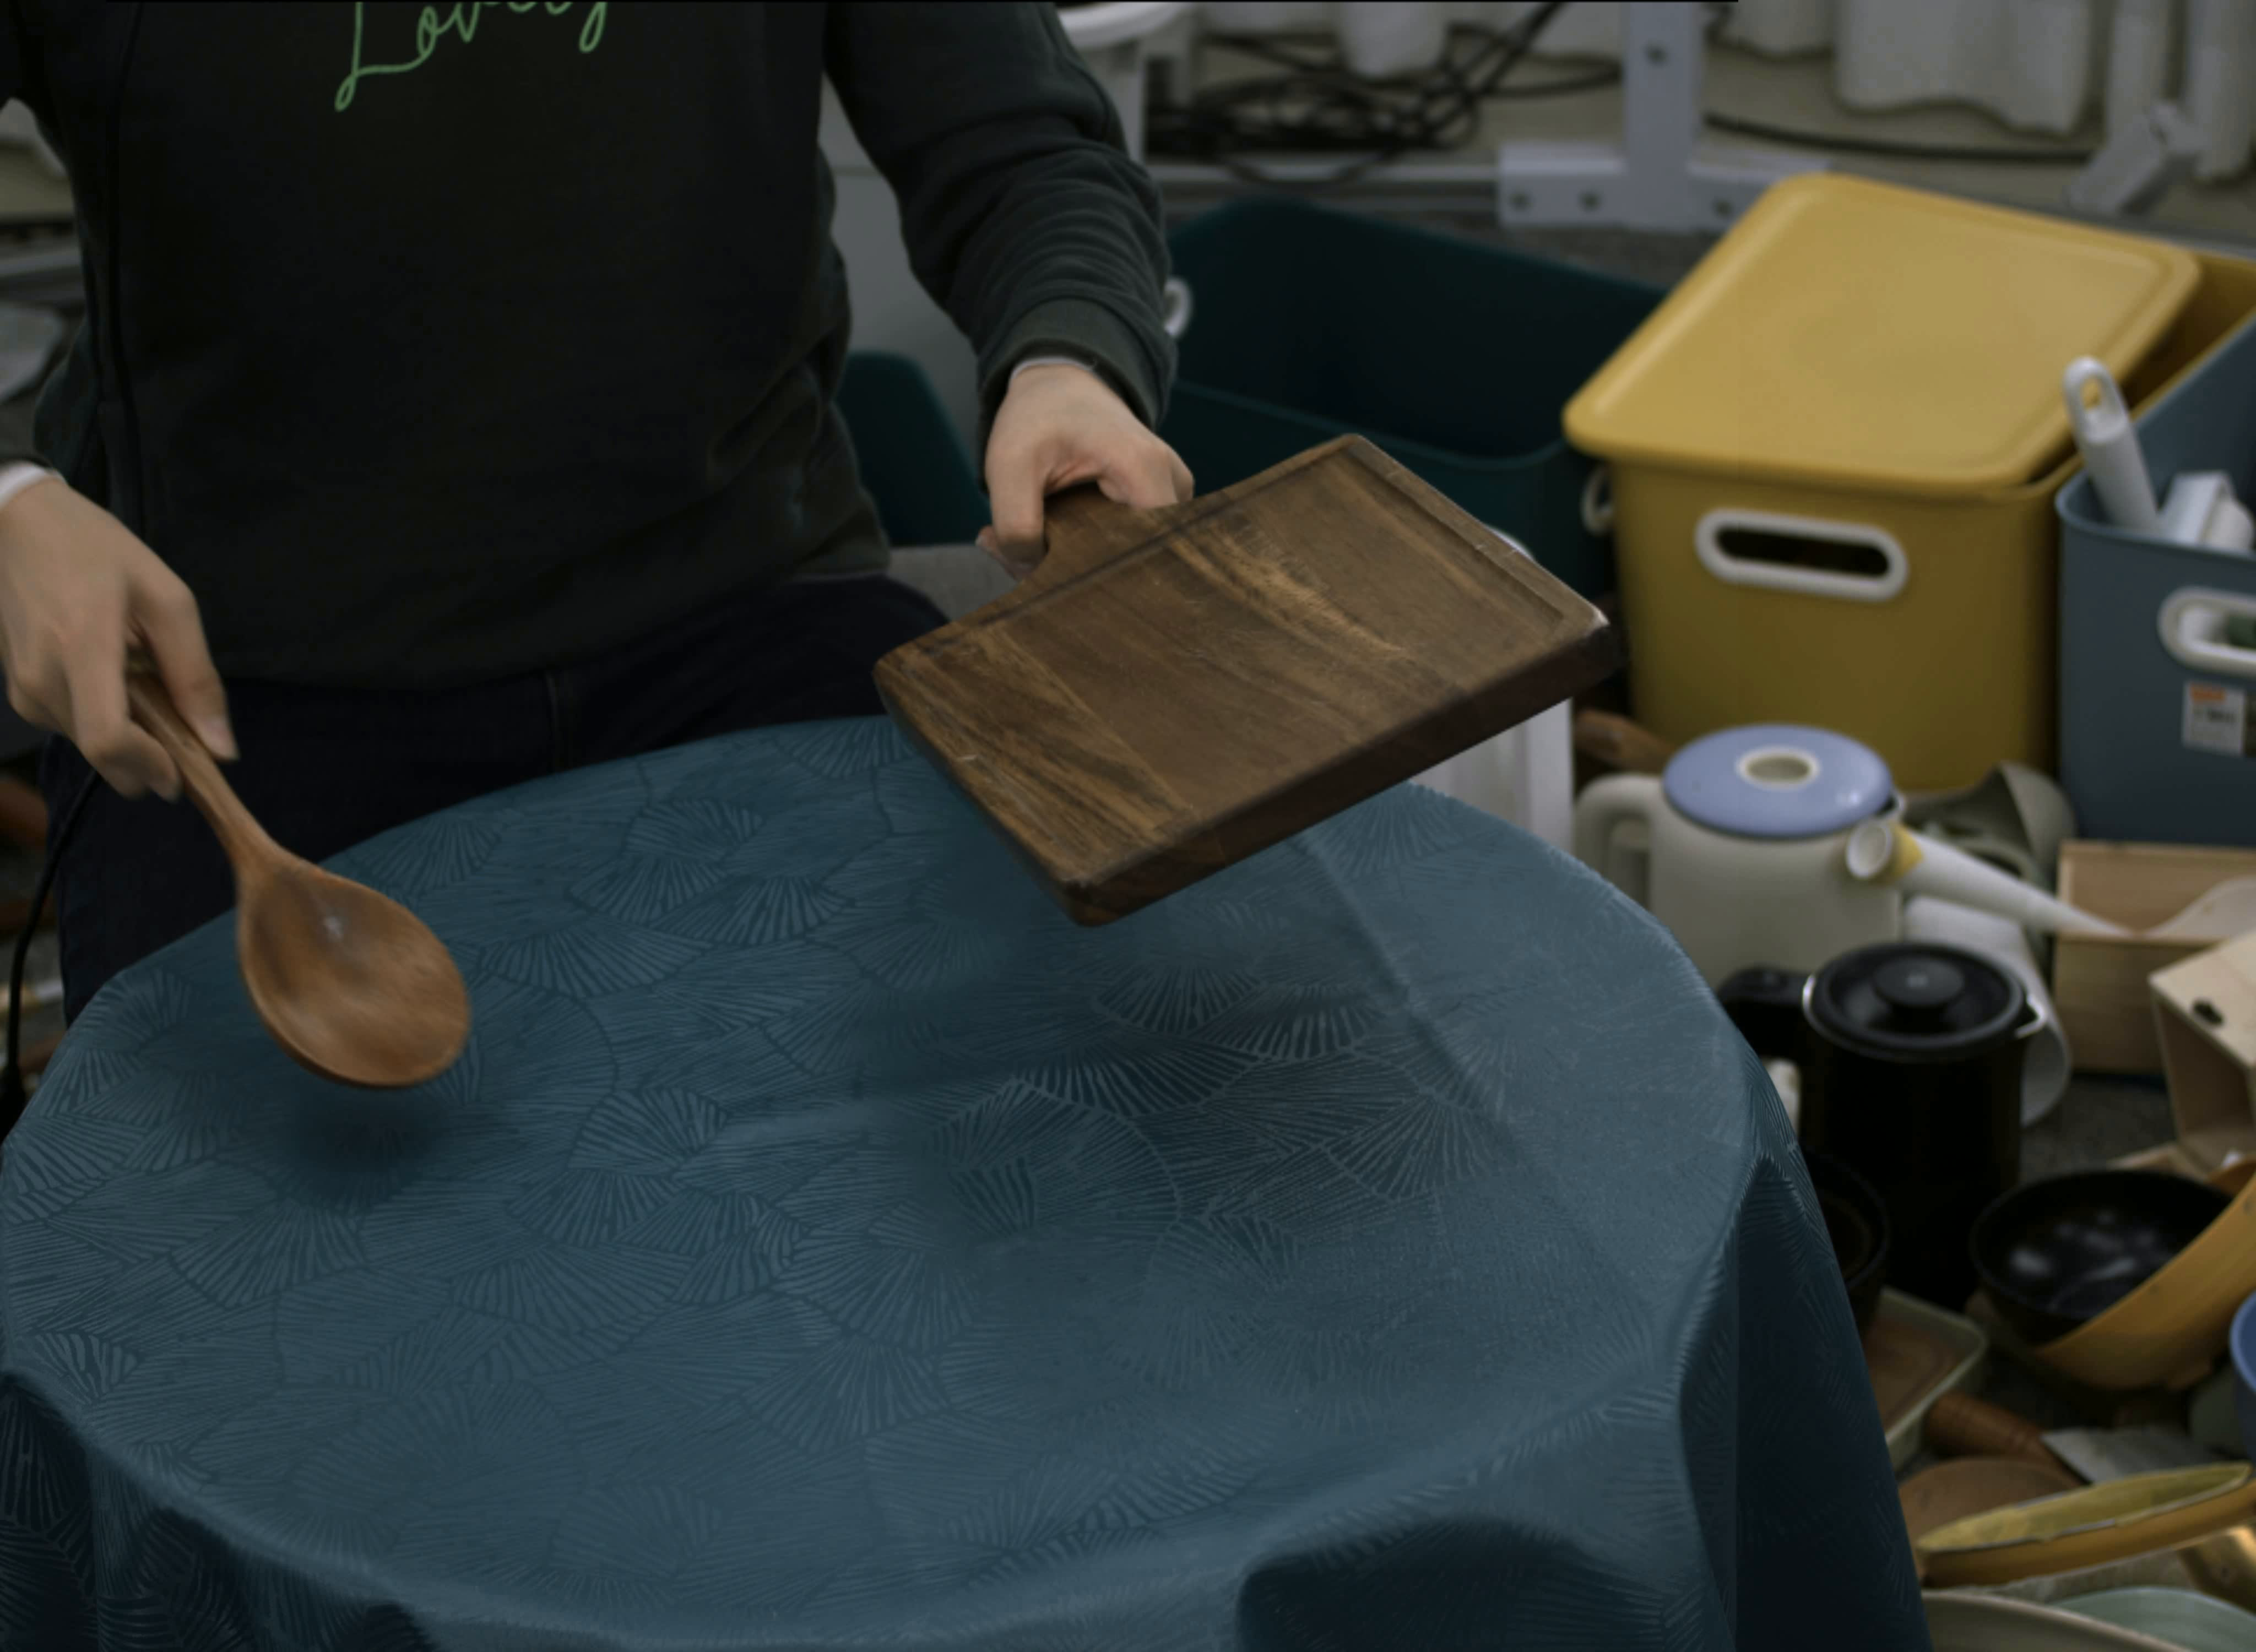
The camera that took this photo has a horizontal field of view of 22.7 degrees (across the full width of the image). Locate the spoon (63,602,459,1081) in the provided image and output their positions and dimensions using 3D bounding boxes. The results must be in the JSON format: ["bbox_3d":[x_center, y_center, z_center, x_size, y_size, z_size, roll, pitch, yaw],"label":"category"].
[{"bbox_3d":[-0.303,0.006,1.926,0.076,0.017,0.217,-21,63,-36],"label":"spoon"}]

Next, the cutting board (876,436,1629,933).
[{"bbox_3d":[0.021,-0.067,1.918,0.201,0.023,0.354,-27,23,-8],"label":"cutting board"}]
